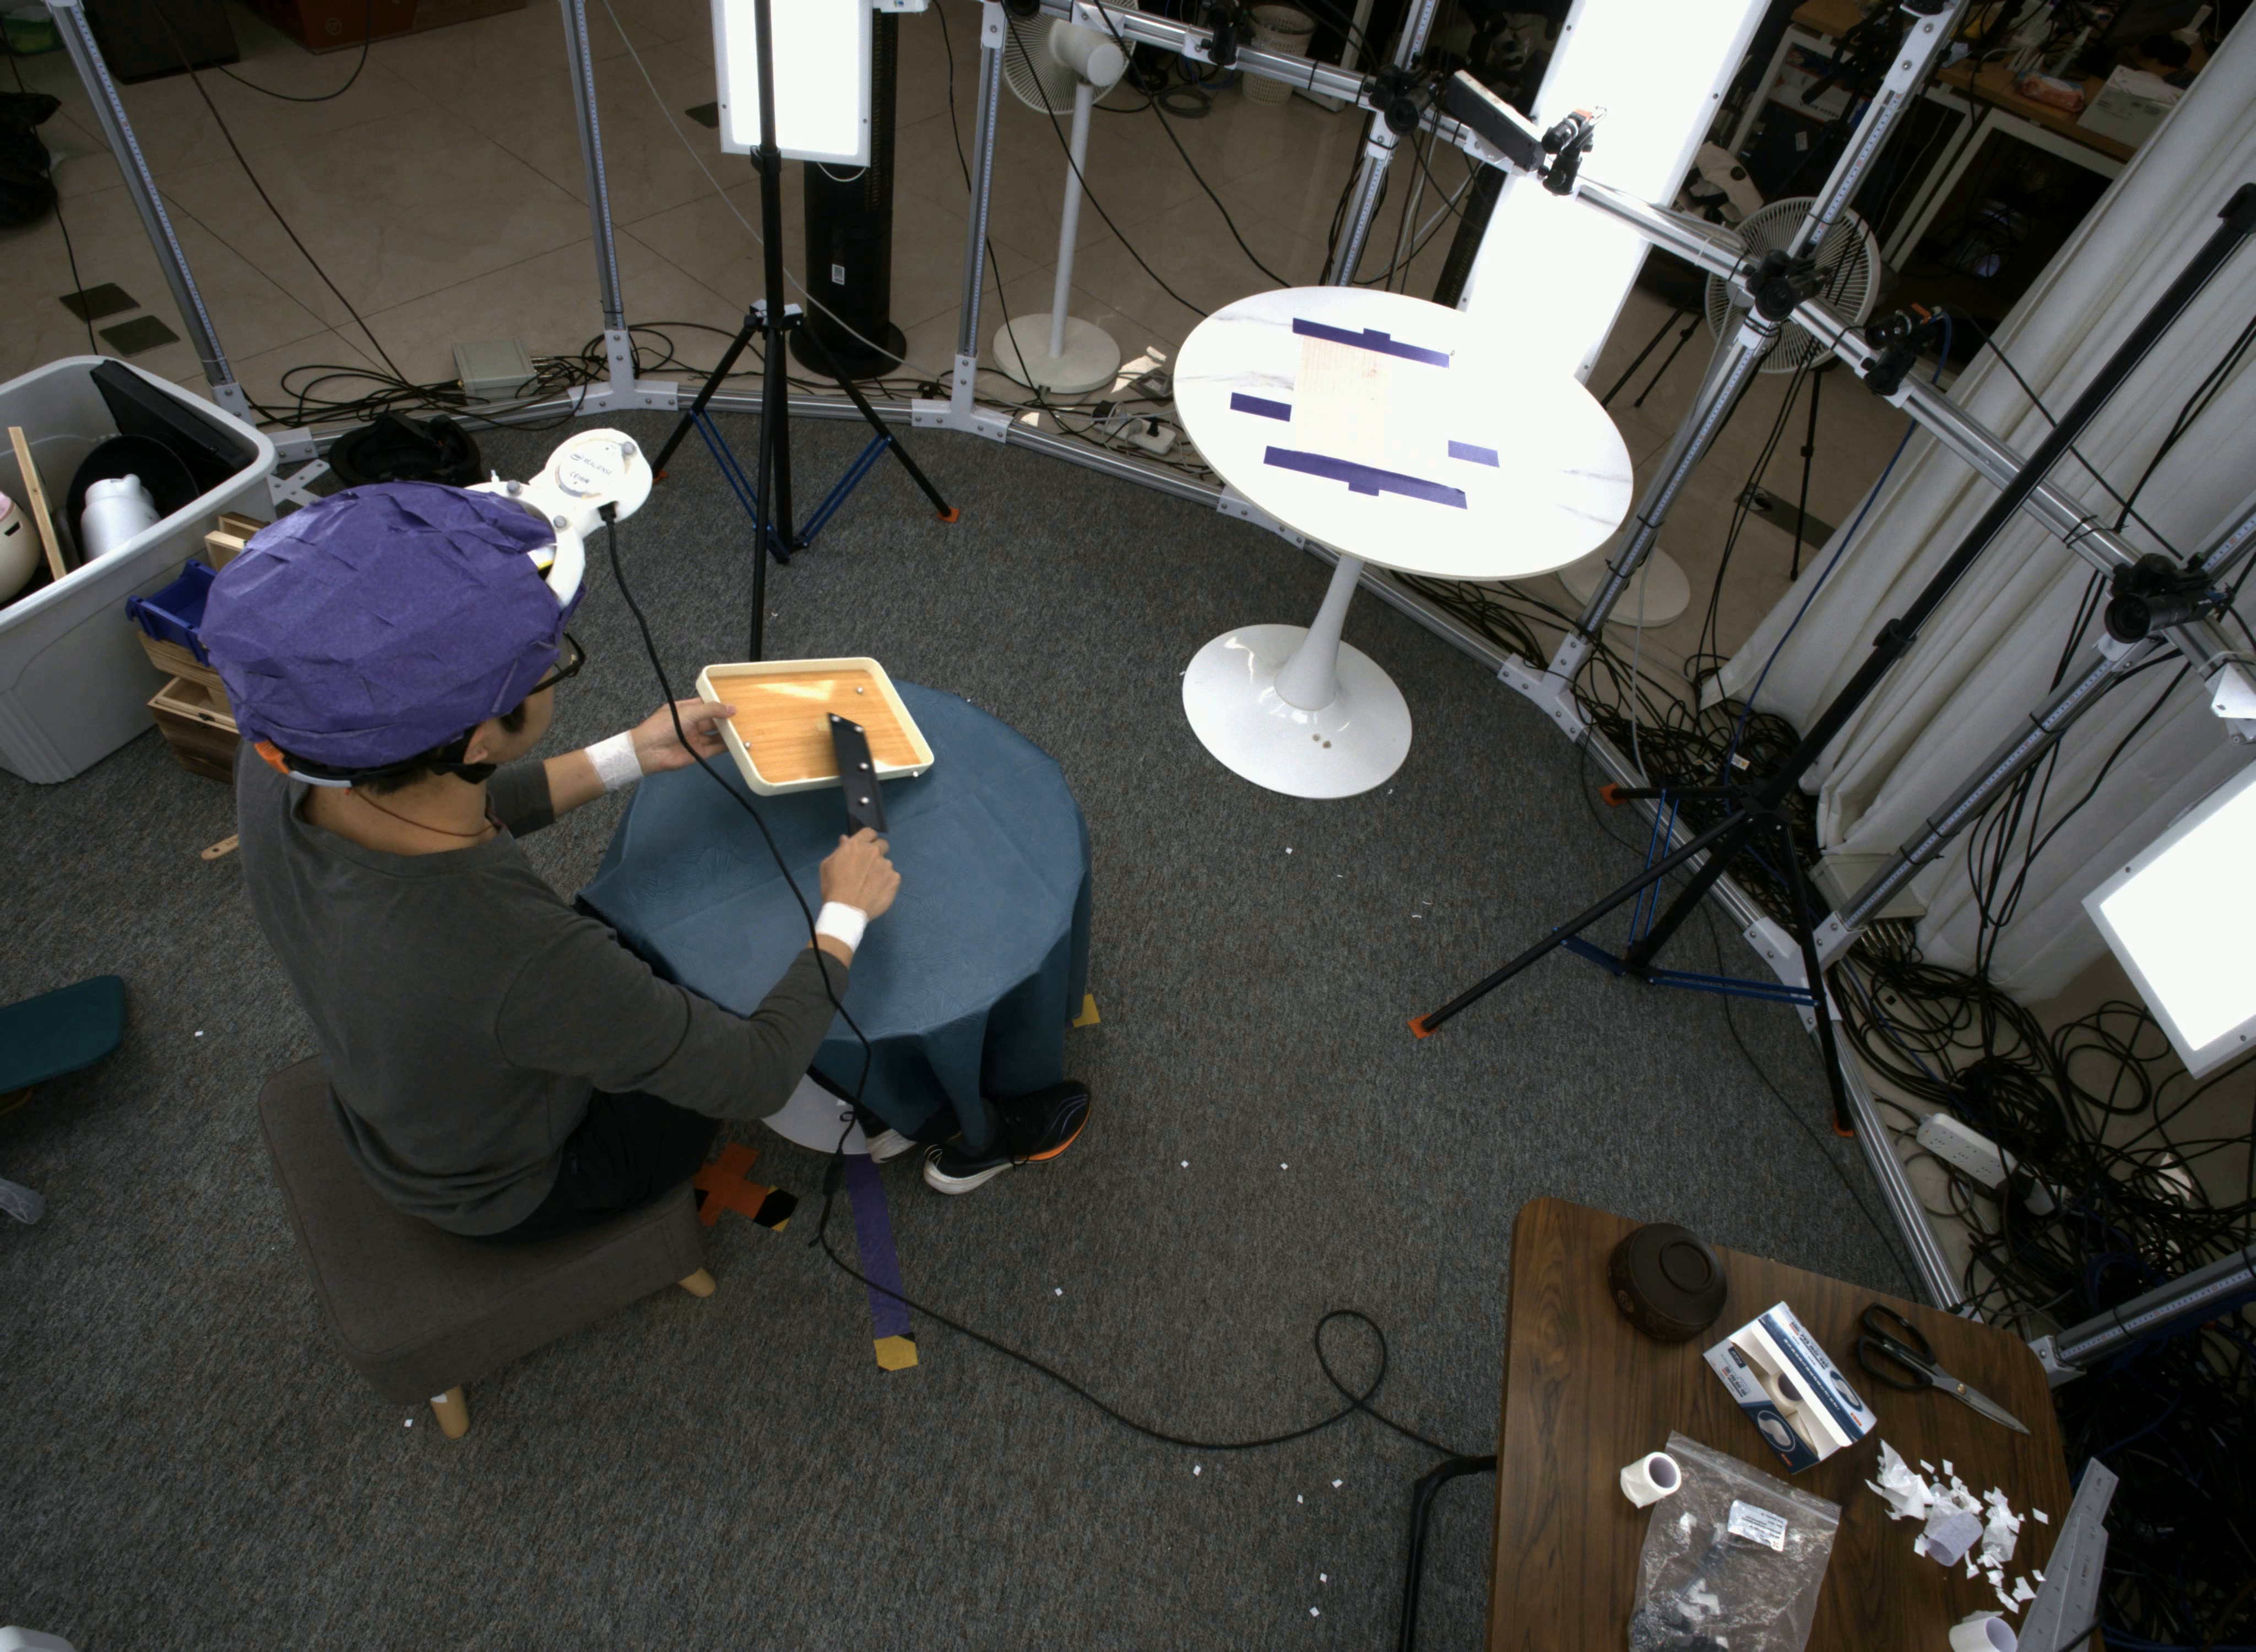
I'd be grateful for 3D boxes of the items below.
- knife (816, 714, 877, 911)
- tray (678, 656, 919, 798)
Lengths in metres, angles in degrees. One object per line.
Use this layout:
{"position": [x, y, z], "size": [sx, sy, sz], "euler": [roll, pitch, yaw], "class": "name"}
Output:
{"position": [-0.352, -0.022, 1.652], "size": [0.083, 0.020, 0.295], "euler": [26, 38, -45], "class": "knife"}
{"position": [-0.431, -0.137, 1.717], "size": [0.304, 0.027, 0.189], "euler": [-14, 68, -53], "class": "tray"}
